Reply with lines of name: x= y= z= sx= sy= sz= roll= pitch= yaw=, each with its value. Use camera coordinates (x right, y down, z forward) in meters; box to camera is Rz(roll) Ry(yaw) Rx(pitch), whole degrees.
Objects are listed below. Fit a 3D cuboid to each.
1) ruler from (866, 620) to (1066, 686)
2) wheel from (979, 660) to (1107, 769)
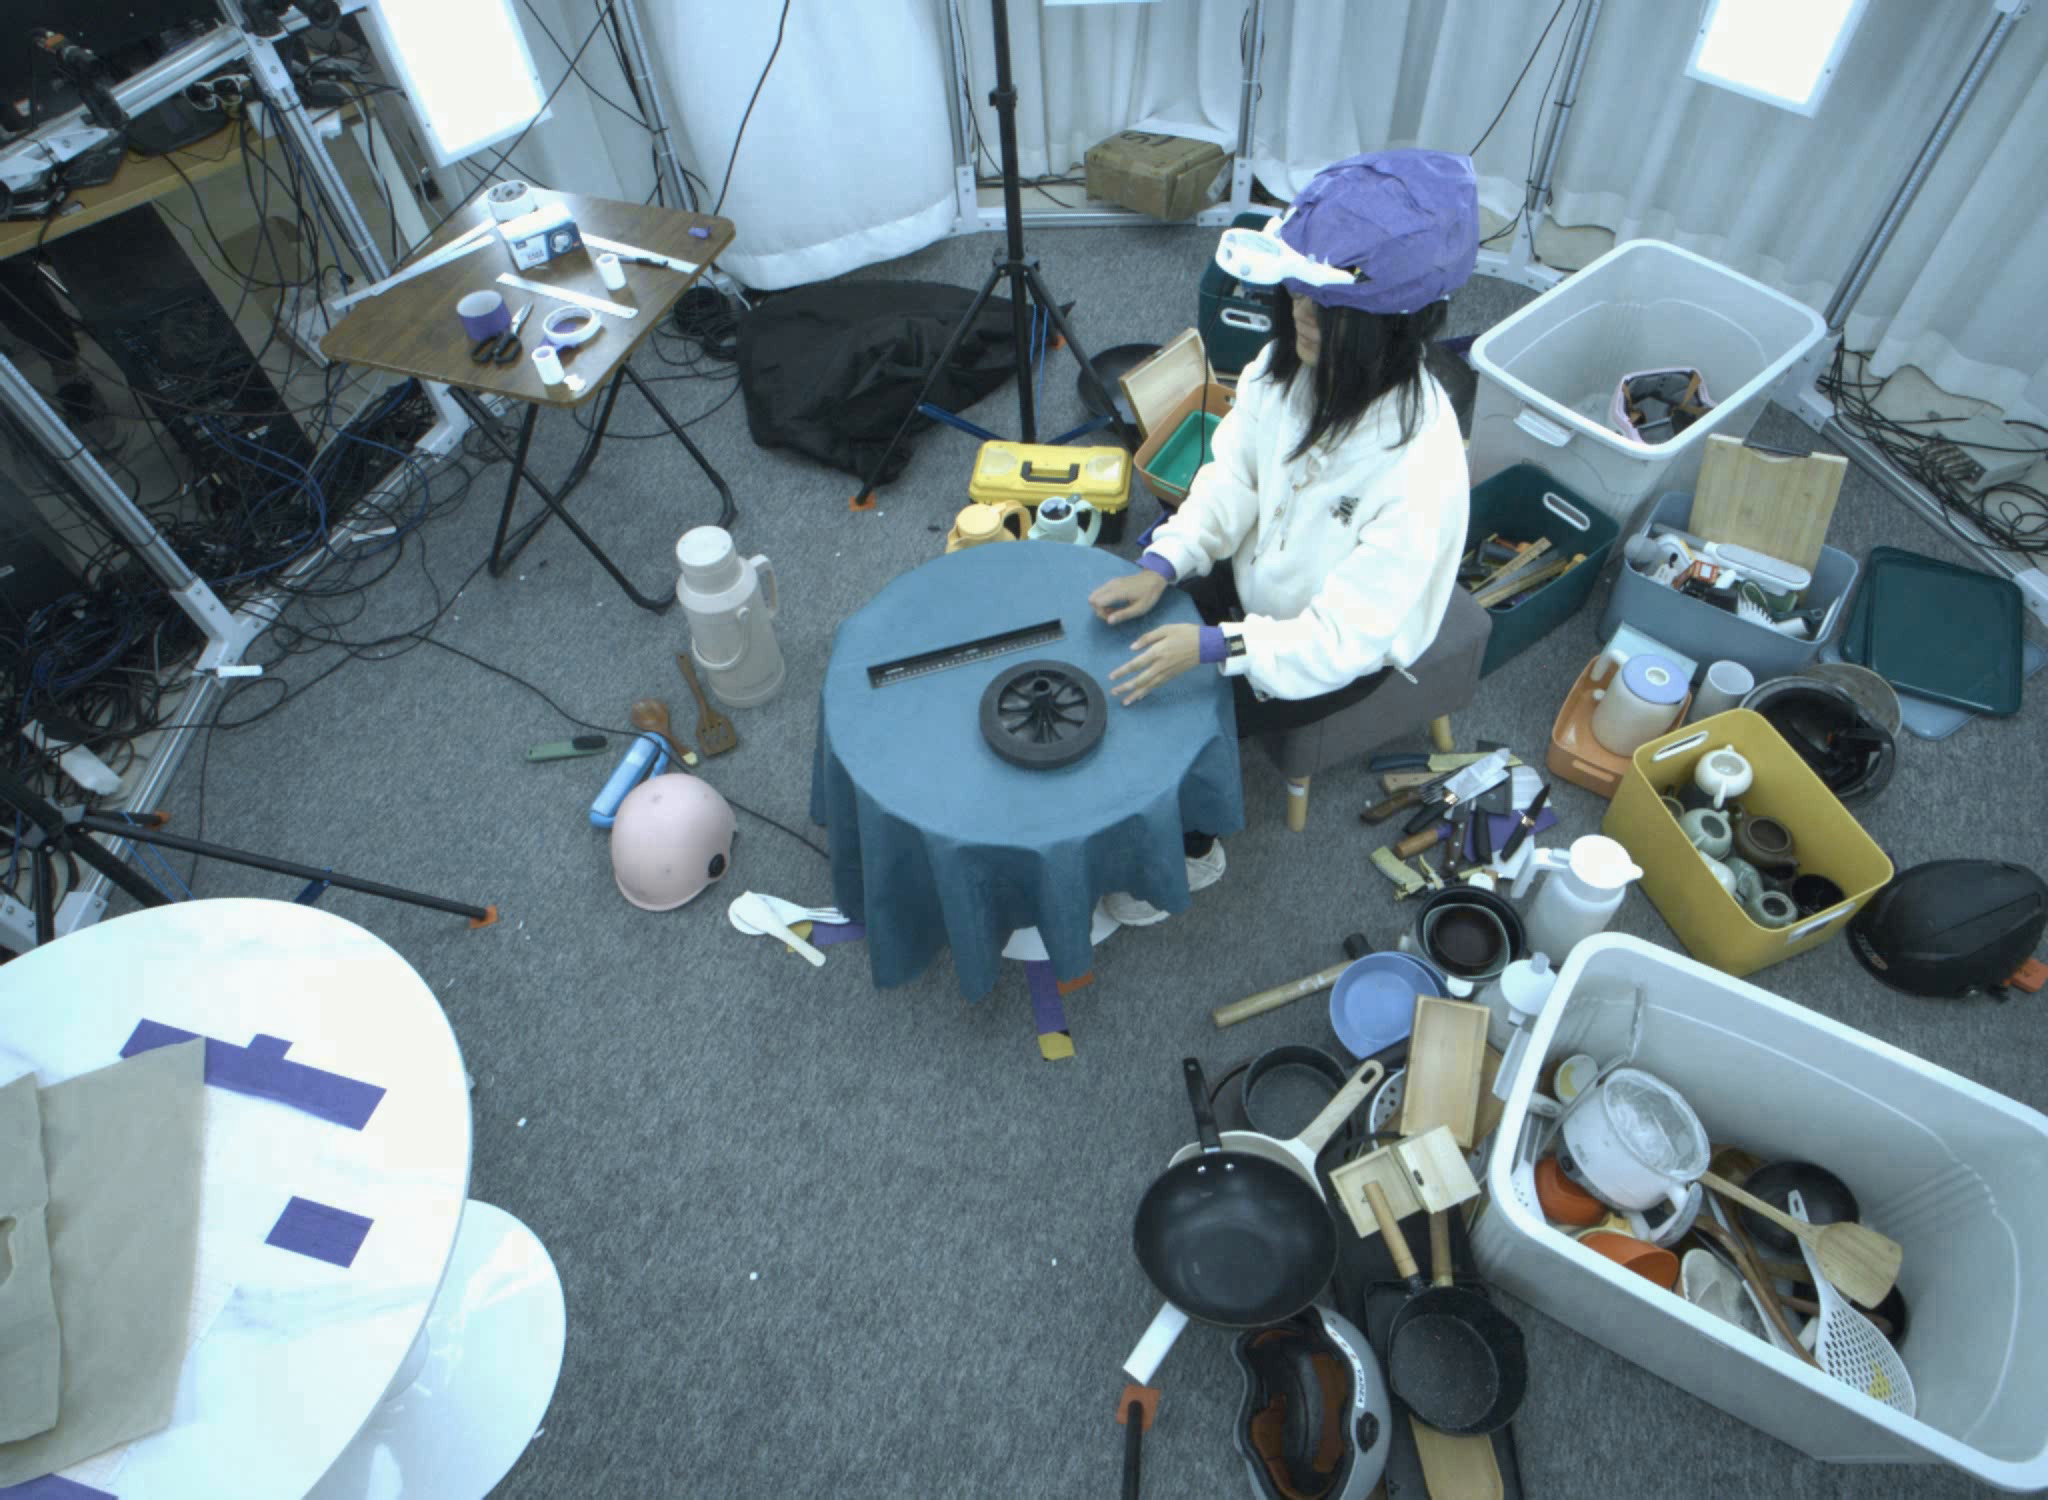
ruler: x=-0.090 y=-0.152 z=1.888 sx=0.314 sy=0.017 sz=0.038 roll=-14 pitch=59 yaw=-8
wheel: x=0.027 y=-0.066 z=1.787 sx=0.189 sy=0.080 sz=0.186 roll=-26 pitch=60 yaw=-15
